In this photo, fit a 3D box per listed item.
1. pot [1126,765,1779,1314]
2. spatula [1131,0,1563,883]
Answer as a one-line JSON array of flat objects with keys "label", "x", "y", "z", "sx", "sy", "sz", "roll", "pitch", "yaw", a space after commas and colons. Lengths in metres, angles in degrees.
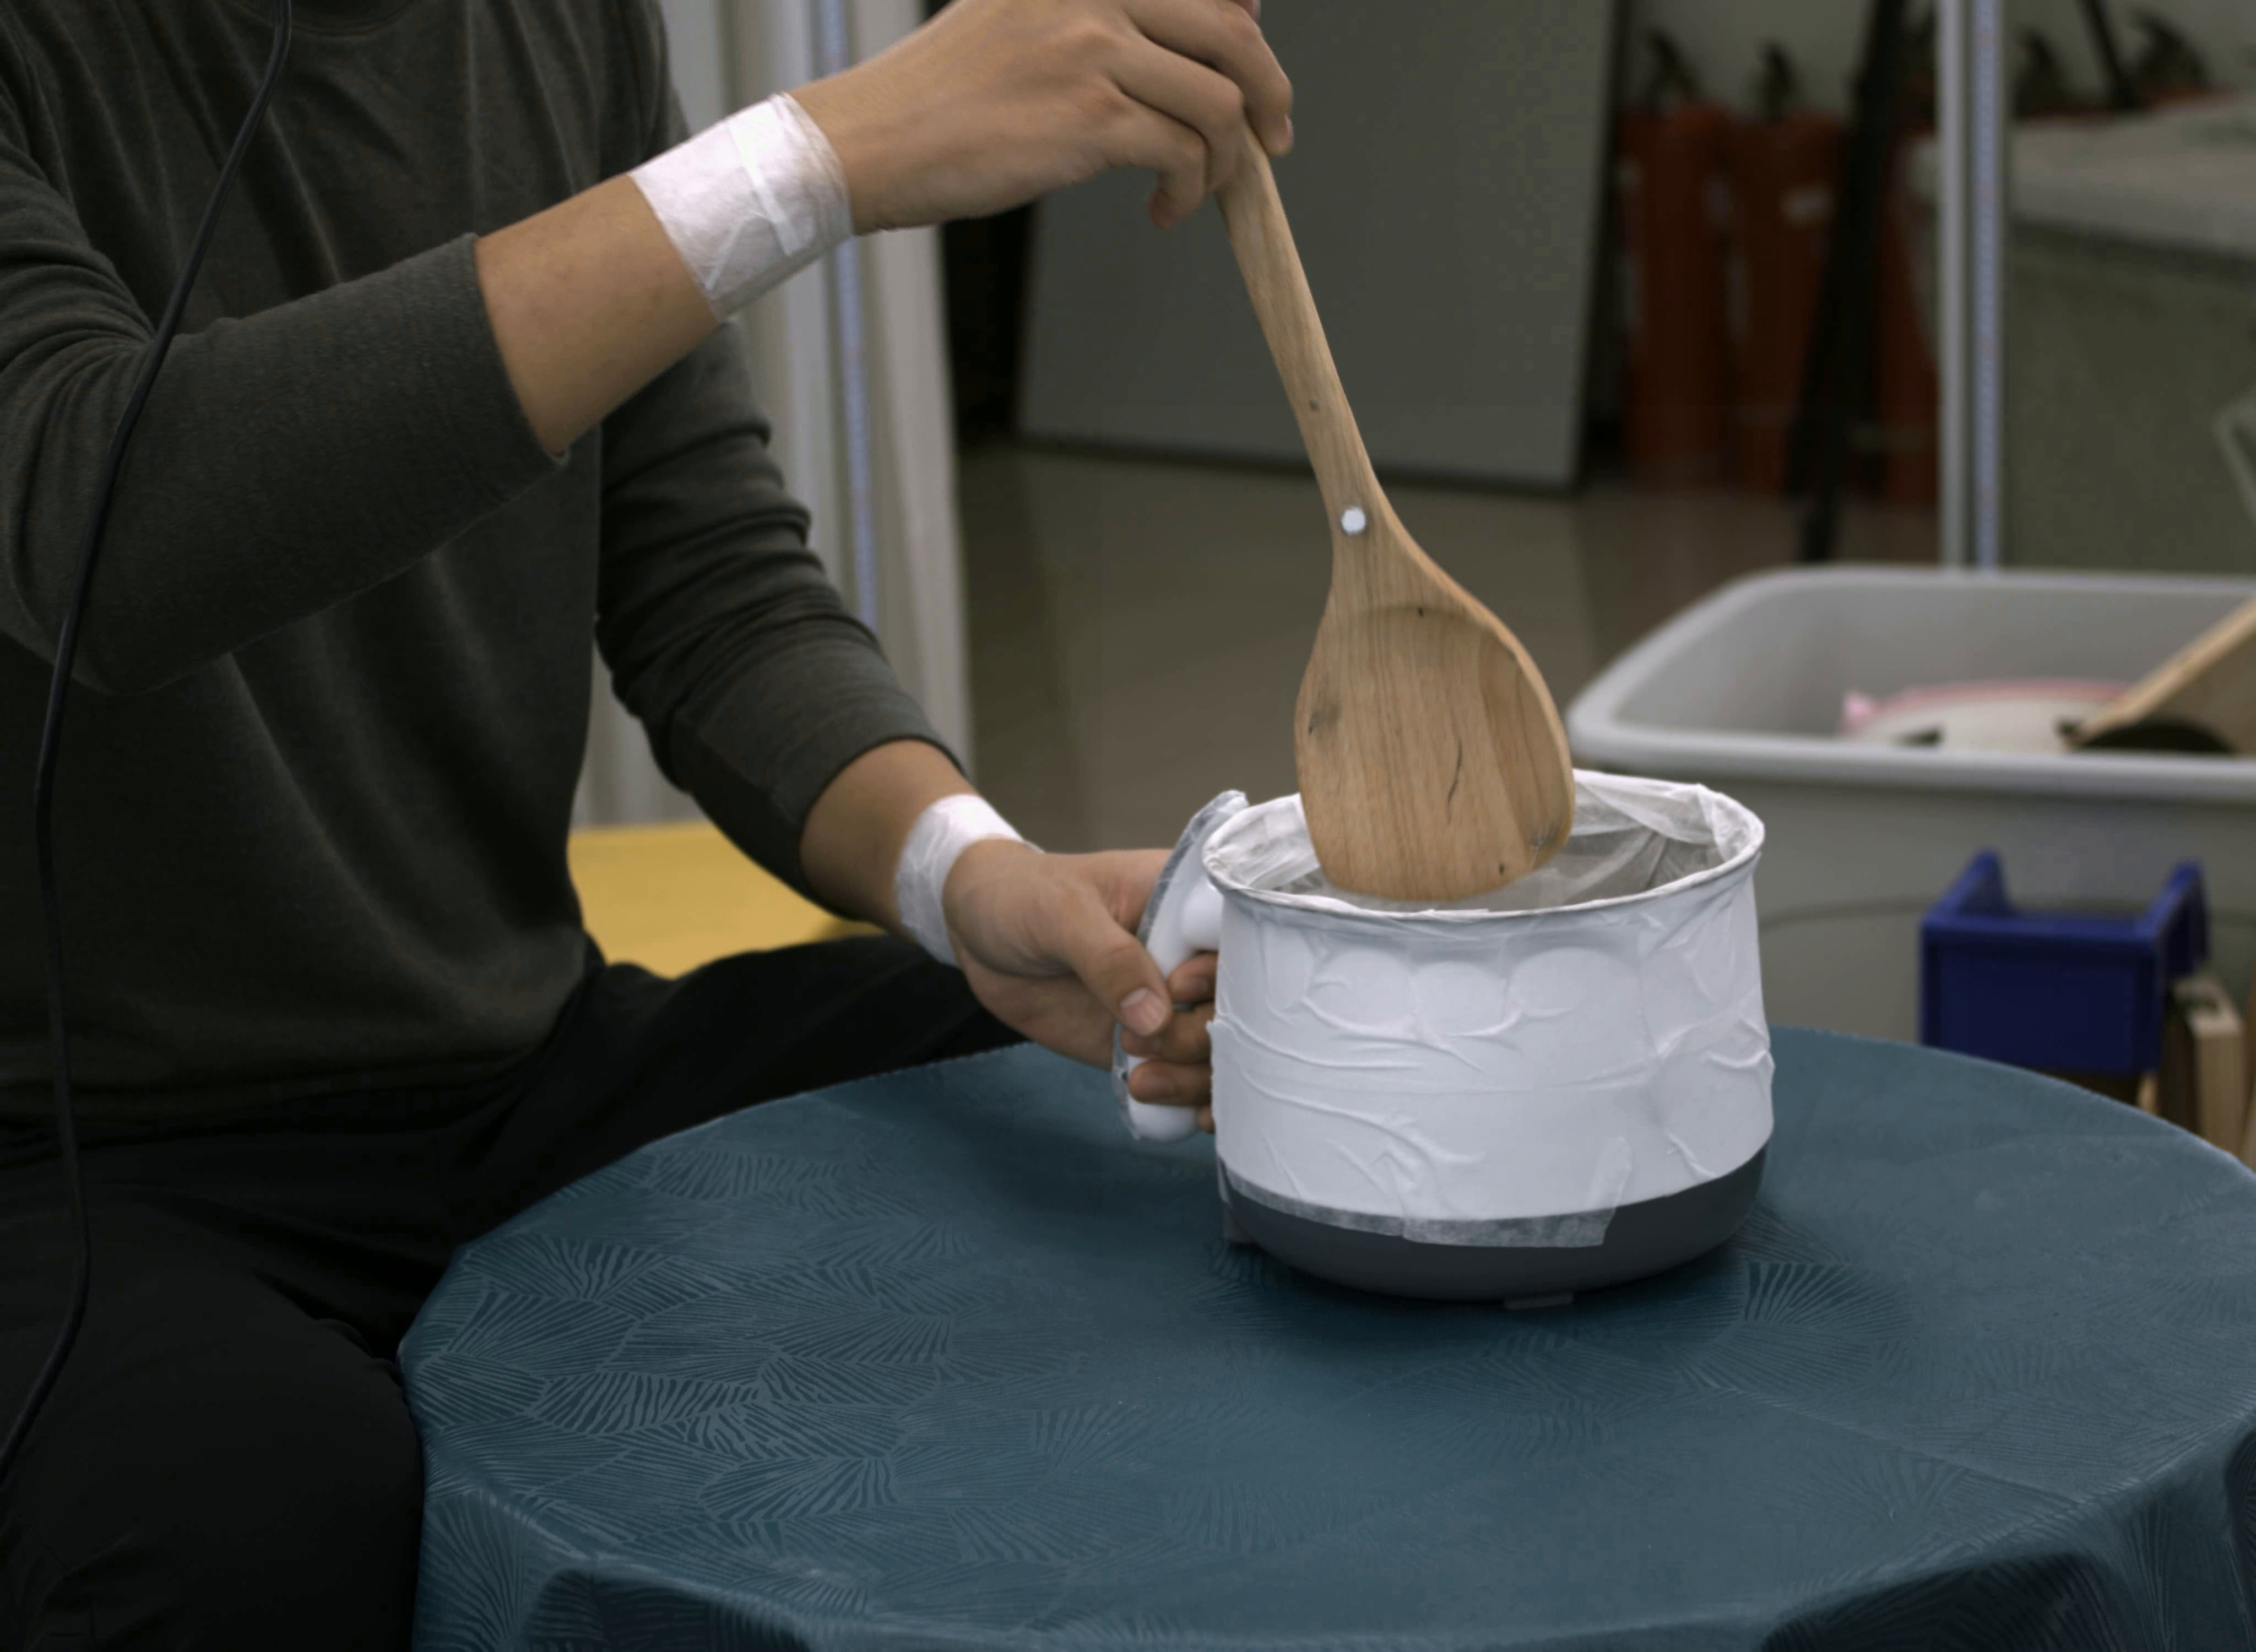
[{"label": "pot", "x": 0.093, "y": 0.063, "z": 1.703, "sx": 0.235, "sy": 0.138, "sz": 0.175, "roll": 5, "pitch": 17, "yaw": 38}, {"label": "spatula", "x": 0.038, "y": -0.168, "z": 1.634, "sx": 0.096, "sy": 0.393, "sz": 0.018, "roll": -14, "pitch": 13, "yaw": 32}]
